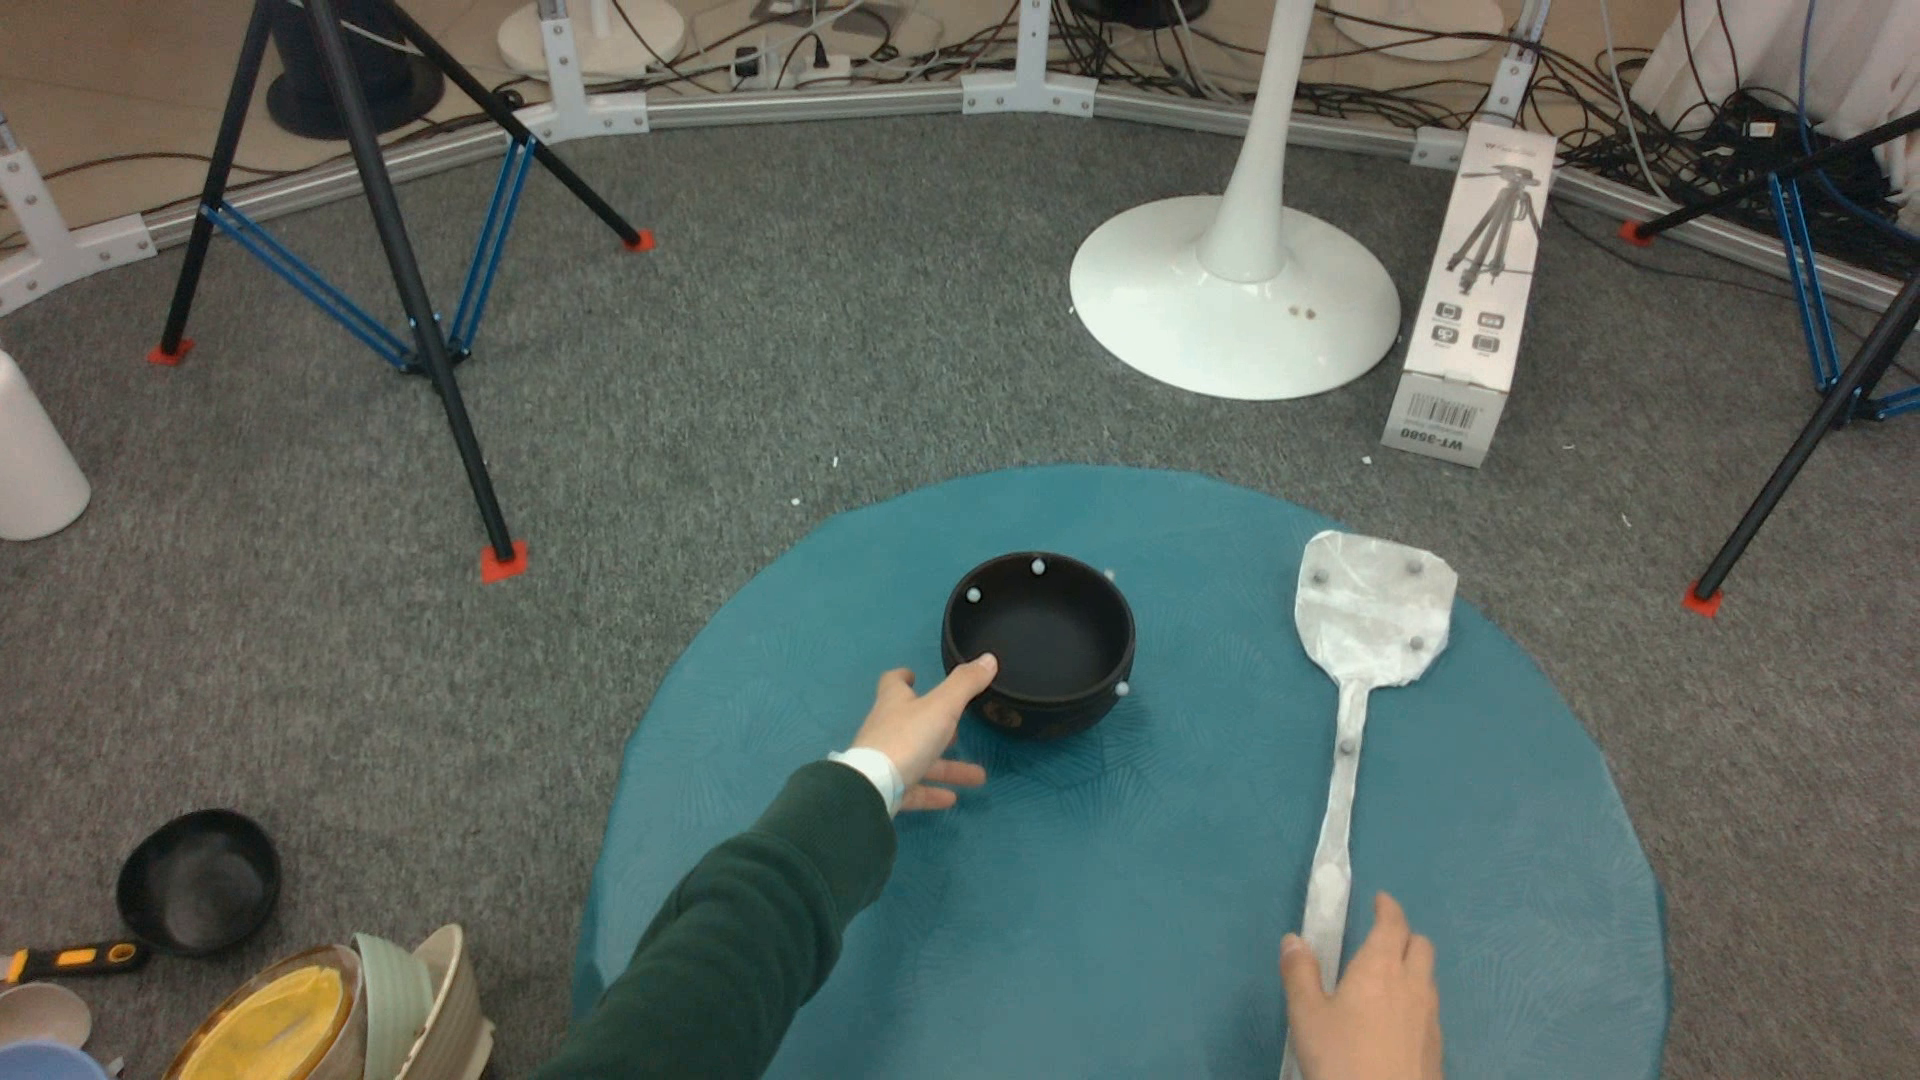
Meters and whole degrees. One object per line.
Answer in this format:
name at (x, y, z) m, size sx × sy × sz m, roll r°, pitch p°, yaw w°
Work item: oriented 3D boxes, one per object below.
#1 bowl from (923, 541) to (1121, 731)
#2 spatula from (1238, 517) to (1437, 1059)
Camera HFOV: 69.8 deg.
bowl at (0.036, 0.065, 0.833) m, size 0.118 × 0.069 × 0.118 m, roll 1°, pitch 47°, yaw -1°
spatula at (0.212, 0.130, 0.807) m, size 0.098 × 0.044 × 0.367 m, roll 17°, pitch 48°, yaw 9°
